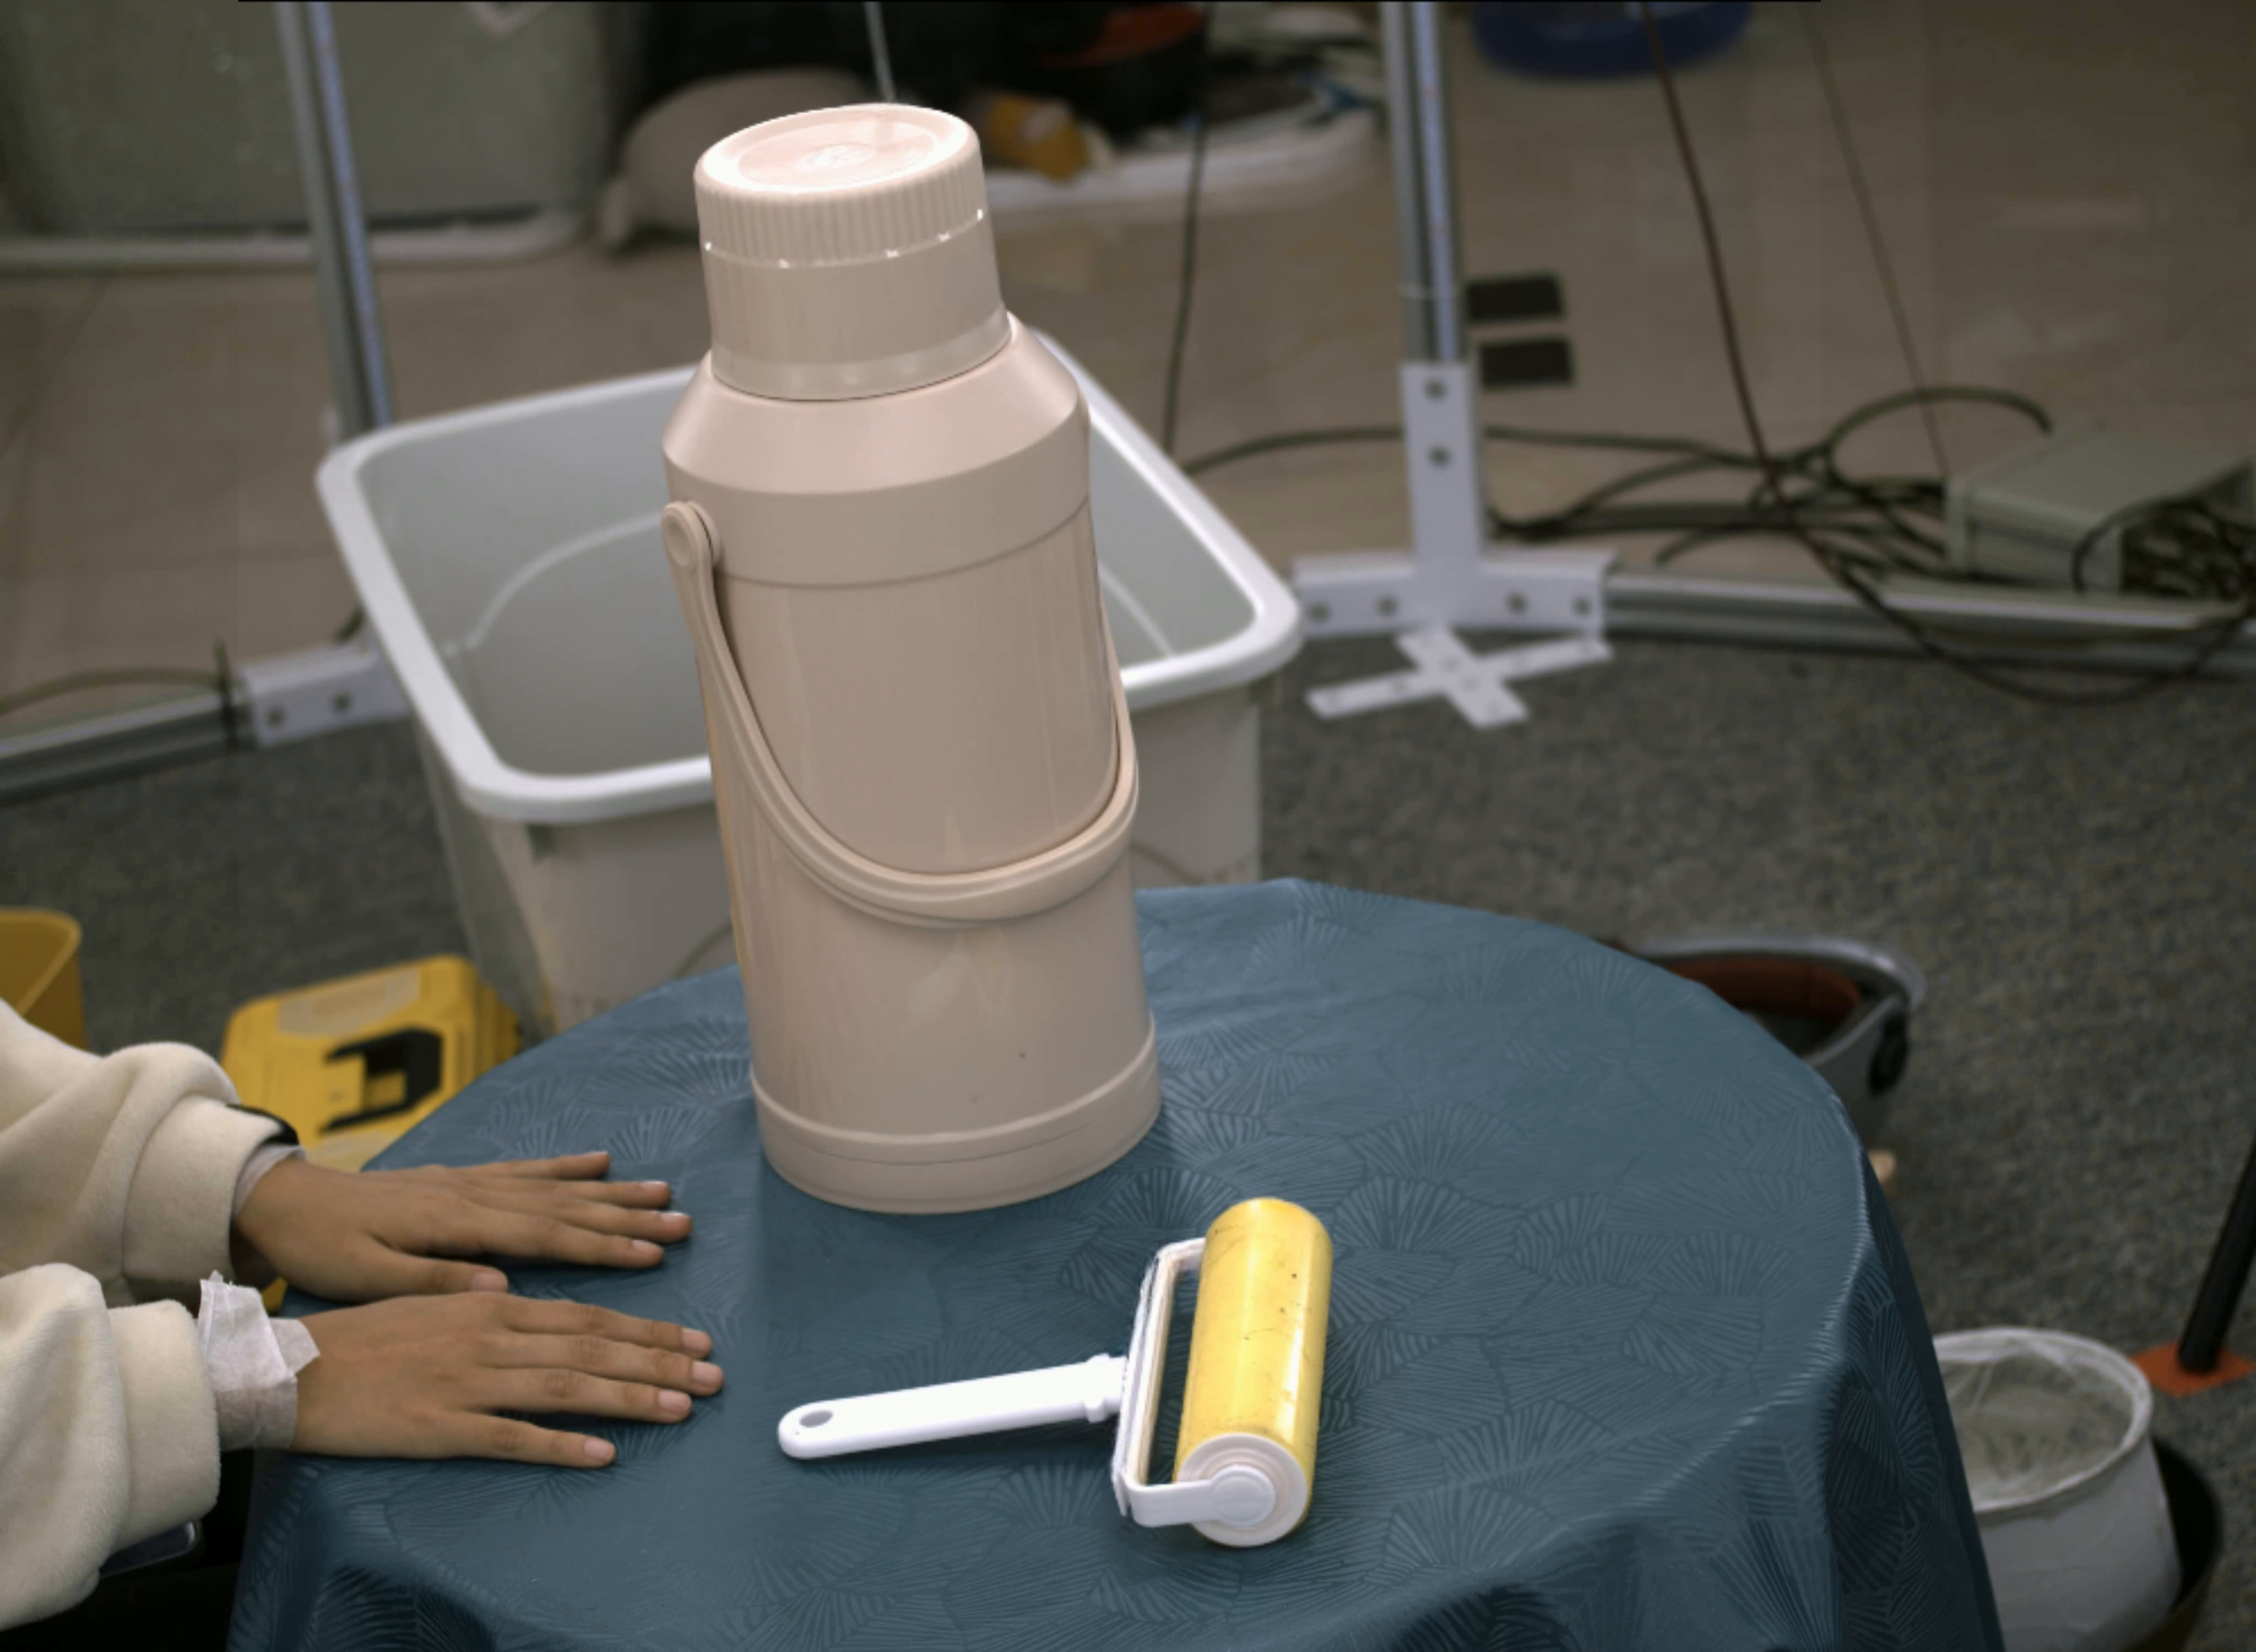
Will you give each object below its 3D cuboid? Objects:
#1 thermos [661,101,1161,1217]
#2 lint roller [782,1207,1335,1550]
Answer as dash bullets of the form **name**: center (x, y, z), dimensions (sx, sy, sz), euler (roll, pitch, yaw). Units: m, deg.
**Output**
- **thermos**: center (-0.092, -0.068, 2.139), dimensions (0.174, 0.413, 0.205), euler (-23, 30, -29)
- **lint roller**: center (-0.026, 0.191, 1.979), dimensions (0.191, 0.052, 0.172), euler (2, 25, 3)
